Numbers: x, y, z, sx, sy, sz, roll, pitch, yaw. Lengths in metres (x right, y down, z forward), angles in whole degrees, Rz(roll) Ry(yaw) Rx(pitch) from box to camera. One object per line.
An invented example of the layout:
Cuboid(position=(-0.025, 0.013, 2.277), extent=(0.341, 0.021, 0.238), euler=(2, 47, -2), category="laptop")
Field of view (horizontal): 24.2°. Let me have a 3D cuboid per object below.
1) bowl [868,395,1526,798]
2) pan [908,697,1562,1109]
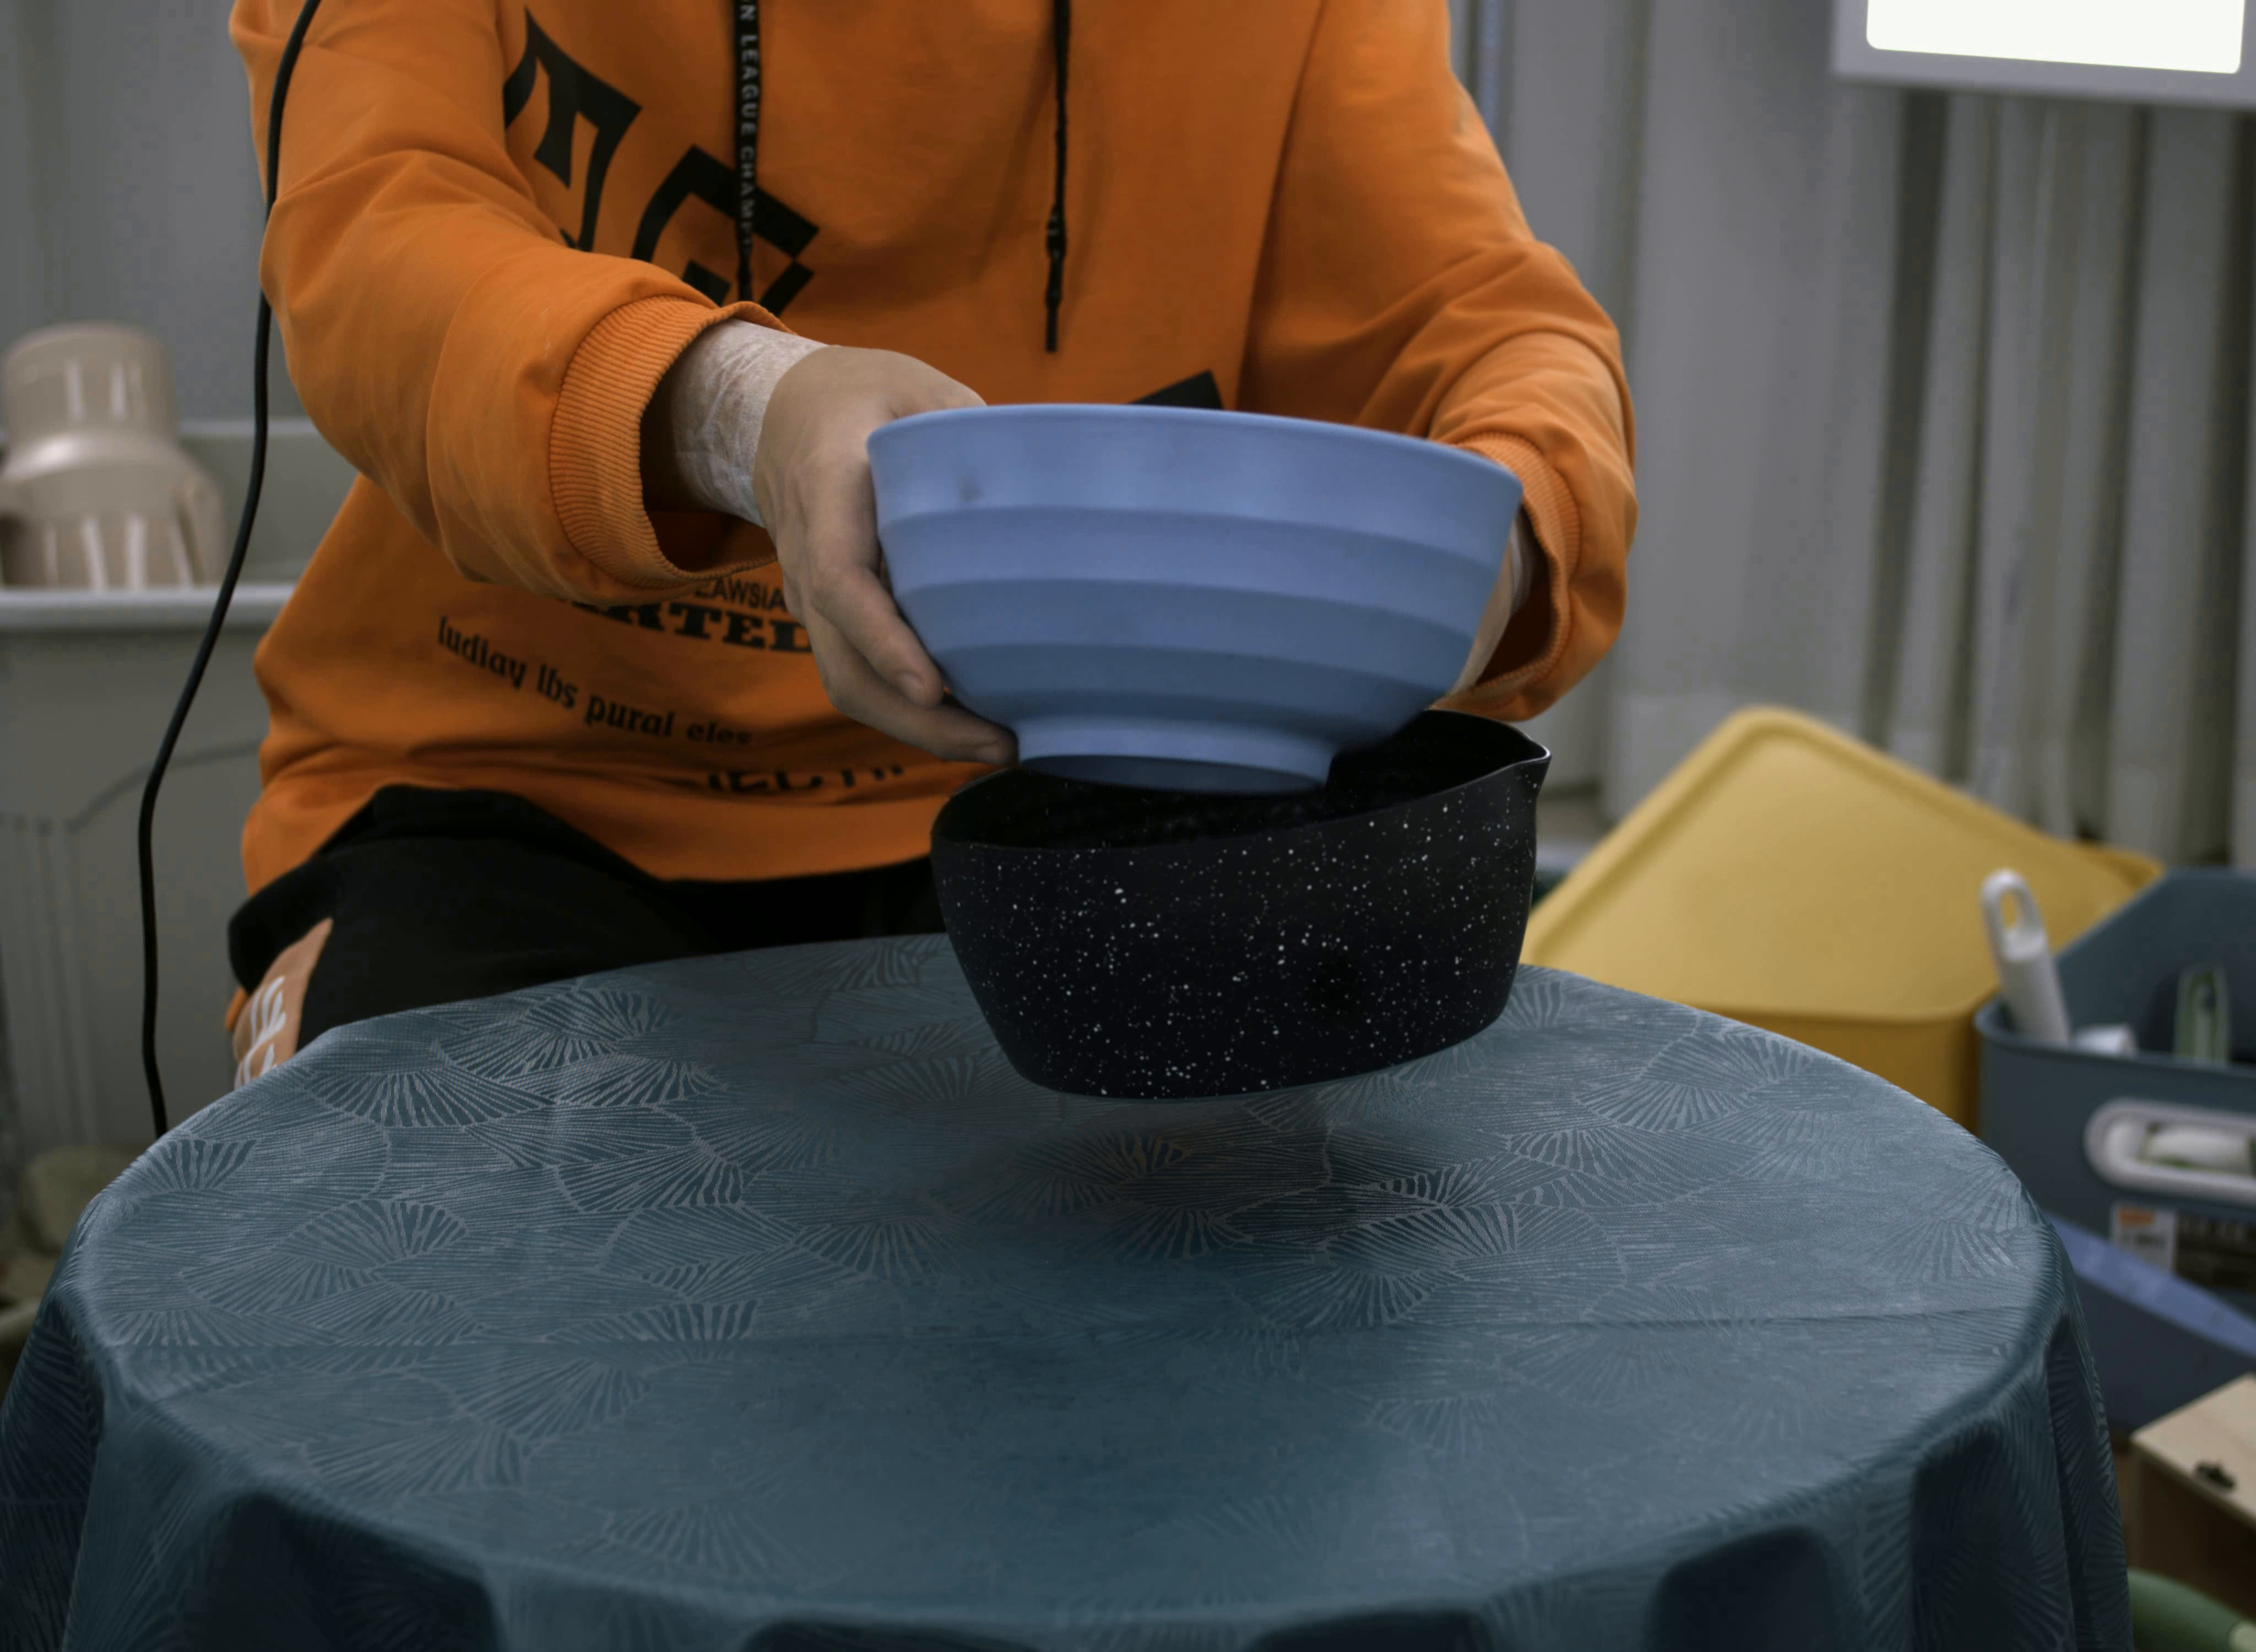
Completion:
Cuboid(position=(0.016, -0.061, 1.557), extent=(0.196, 0.095, 0.197), euler=(5, -6, 1), category="bowl")
Cuboid(position=(0.049, -0.005, 1.679), extent=(0.206, 0.109, 0.342), euler=(-6, 13, 12), category="pan")
